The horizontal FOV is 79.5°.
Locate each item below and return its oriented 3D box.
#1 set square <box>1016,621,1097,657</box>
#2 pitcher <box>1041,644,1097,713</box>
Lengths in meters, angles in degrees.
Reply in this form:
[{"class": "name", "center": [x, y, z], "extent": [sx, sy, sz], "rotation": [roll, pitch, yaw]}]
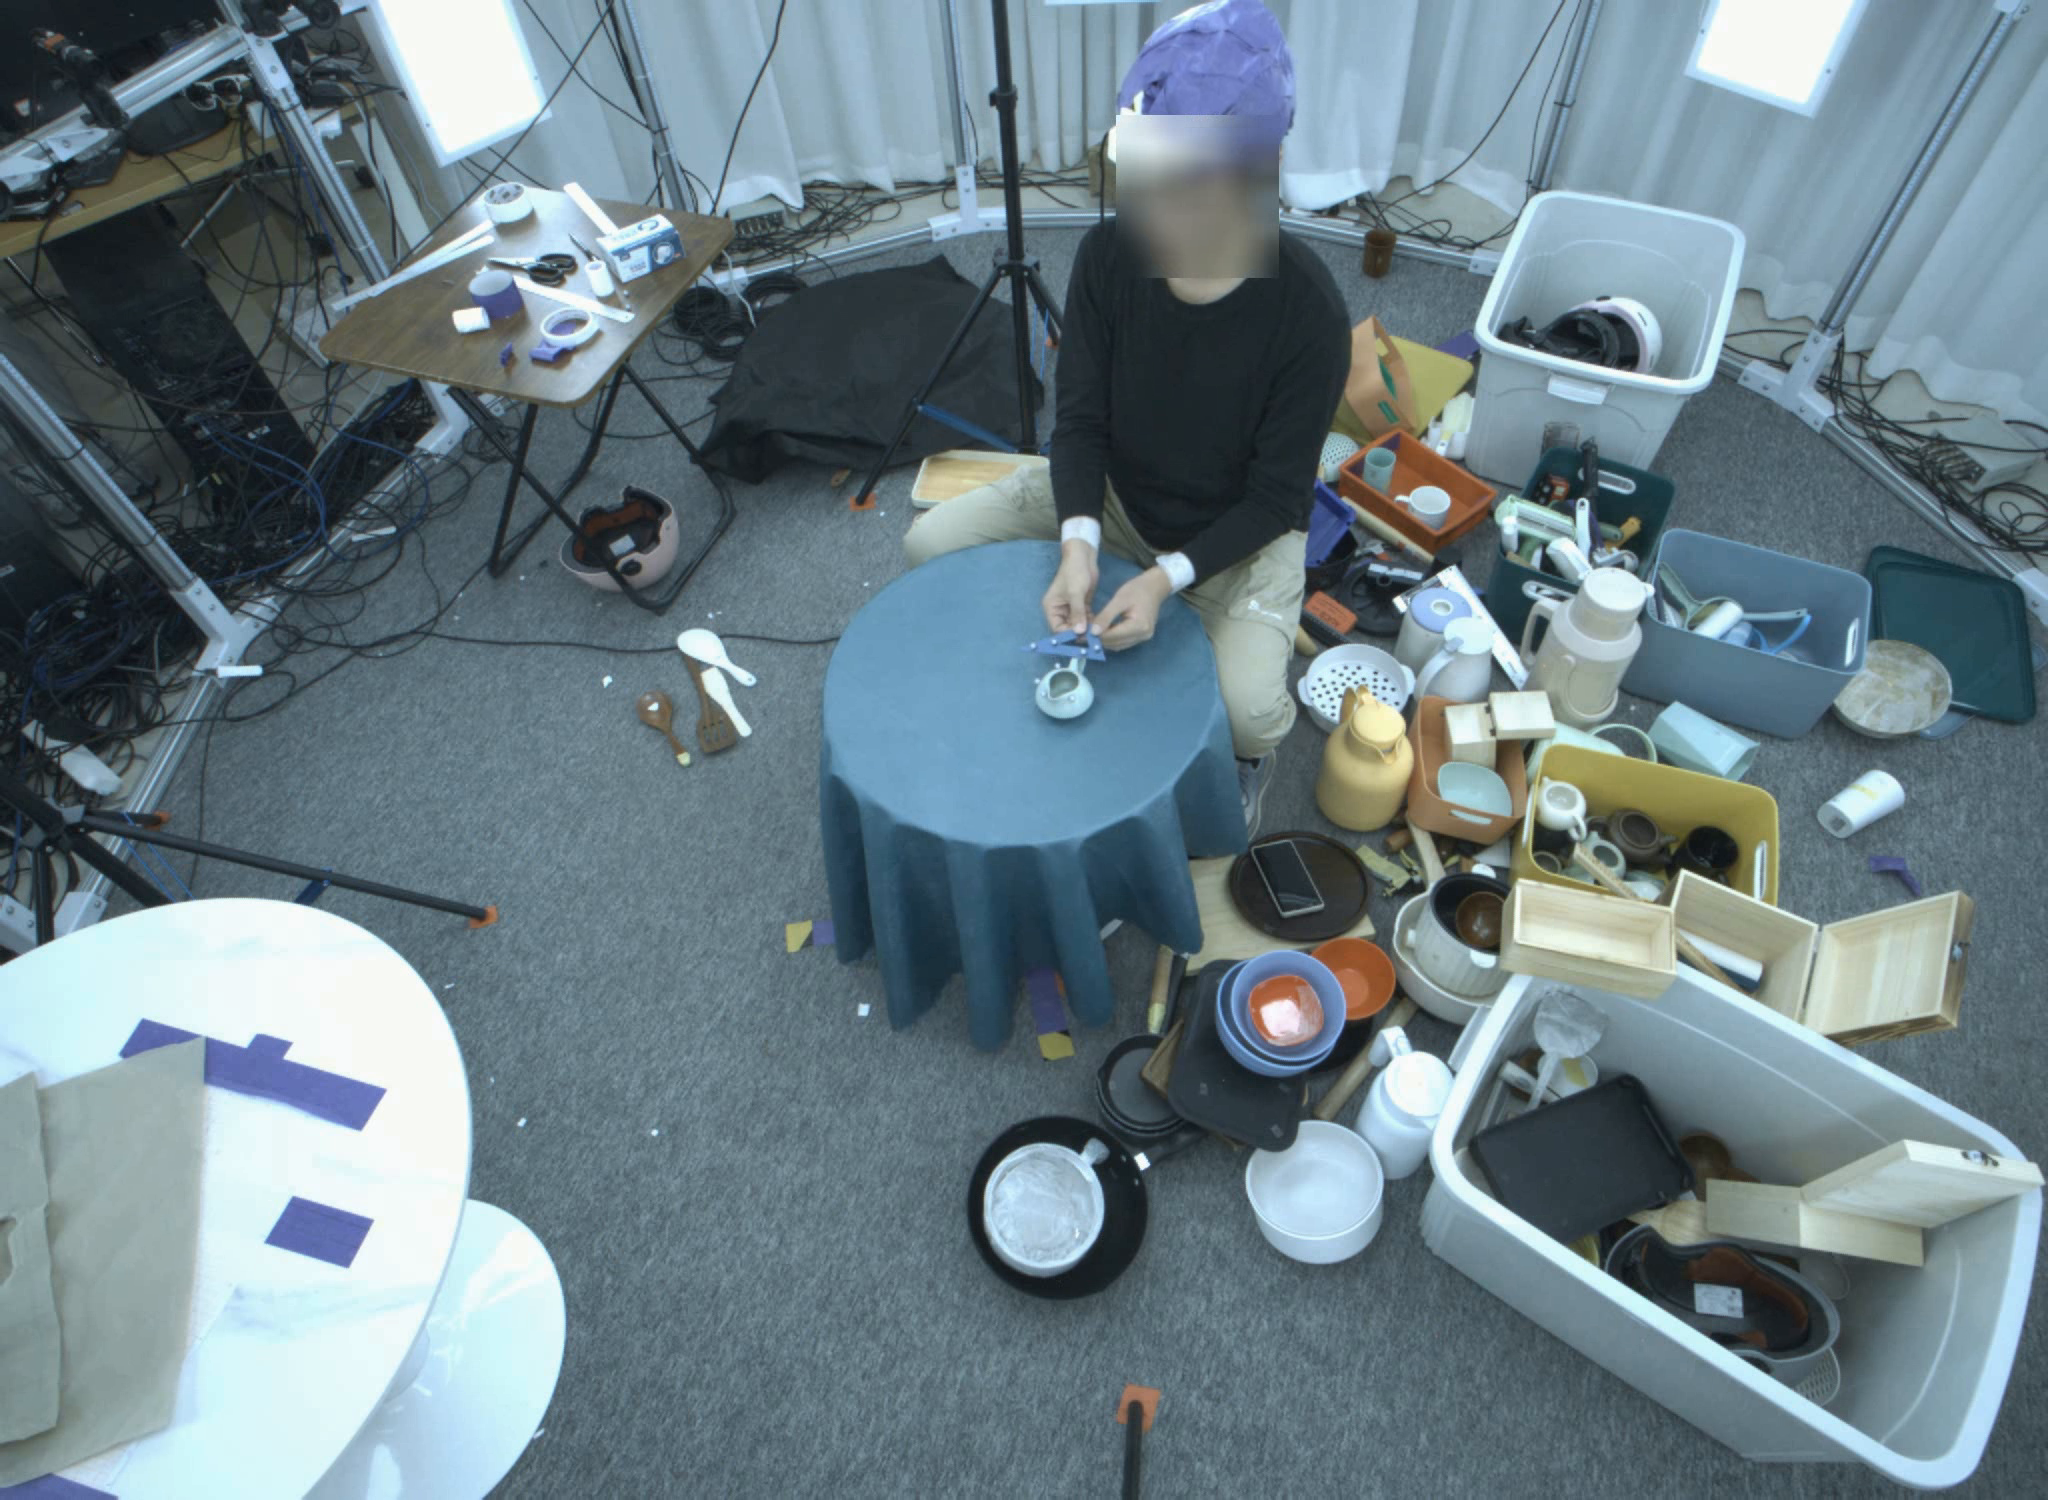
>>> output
[{"class": "set square", "center": [0.054, -0.173, 1.829], "extent": [0.130, 0.006, 0.061], "rotation": [12, 69, 19]}, {"class": "pitcher", "center": [0.070, -0.106, 1.819], "extent": [0.084, 0.061, 0.108], "rotation": [31, 79, 33]}]
